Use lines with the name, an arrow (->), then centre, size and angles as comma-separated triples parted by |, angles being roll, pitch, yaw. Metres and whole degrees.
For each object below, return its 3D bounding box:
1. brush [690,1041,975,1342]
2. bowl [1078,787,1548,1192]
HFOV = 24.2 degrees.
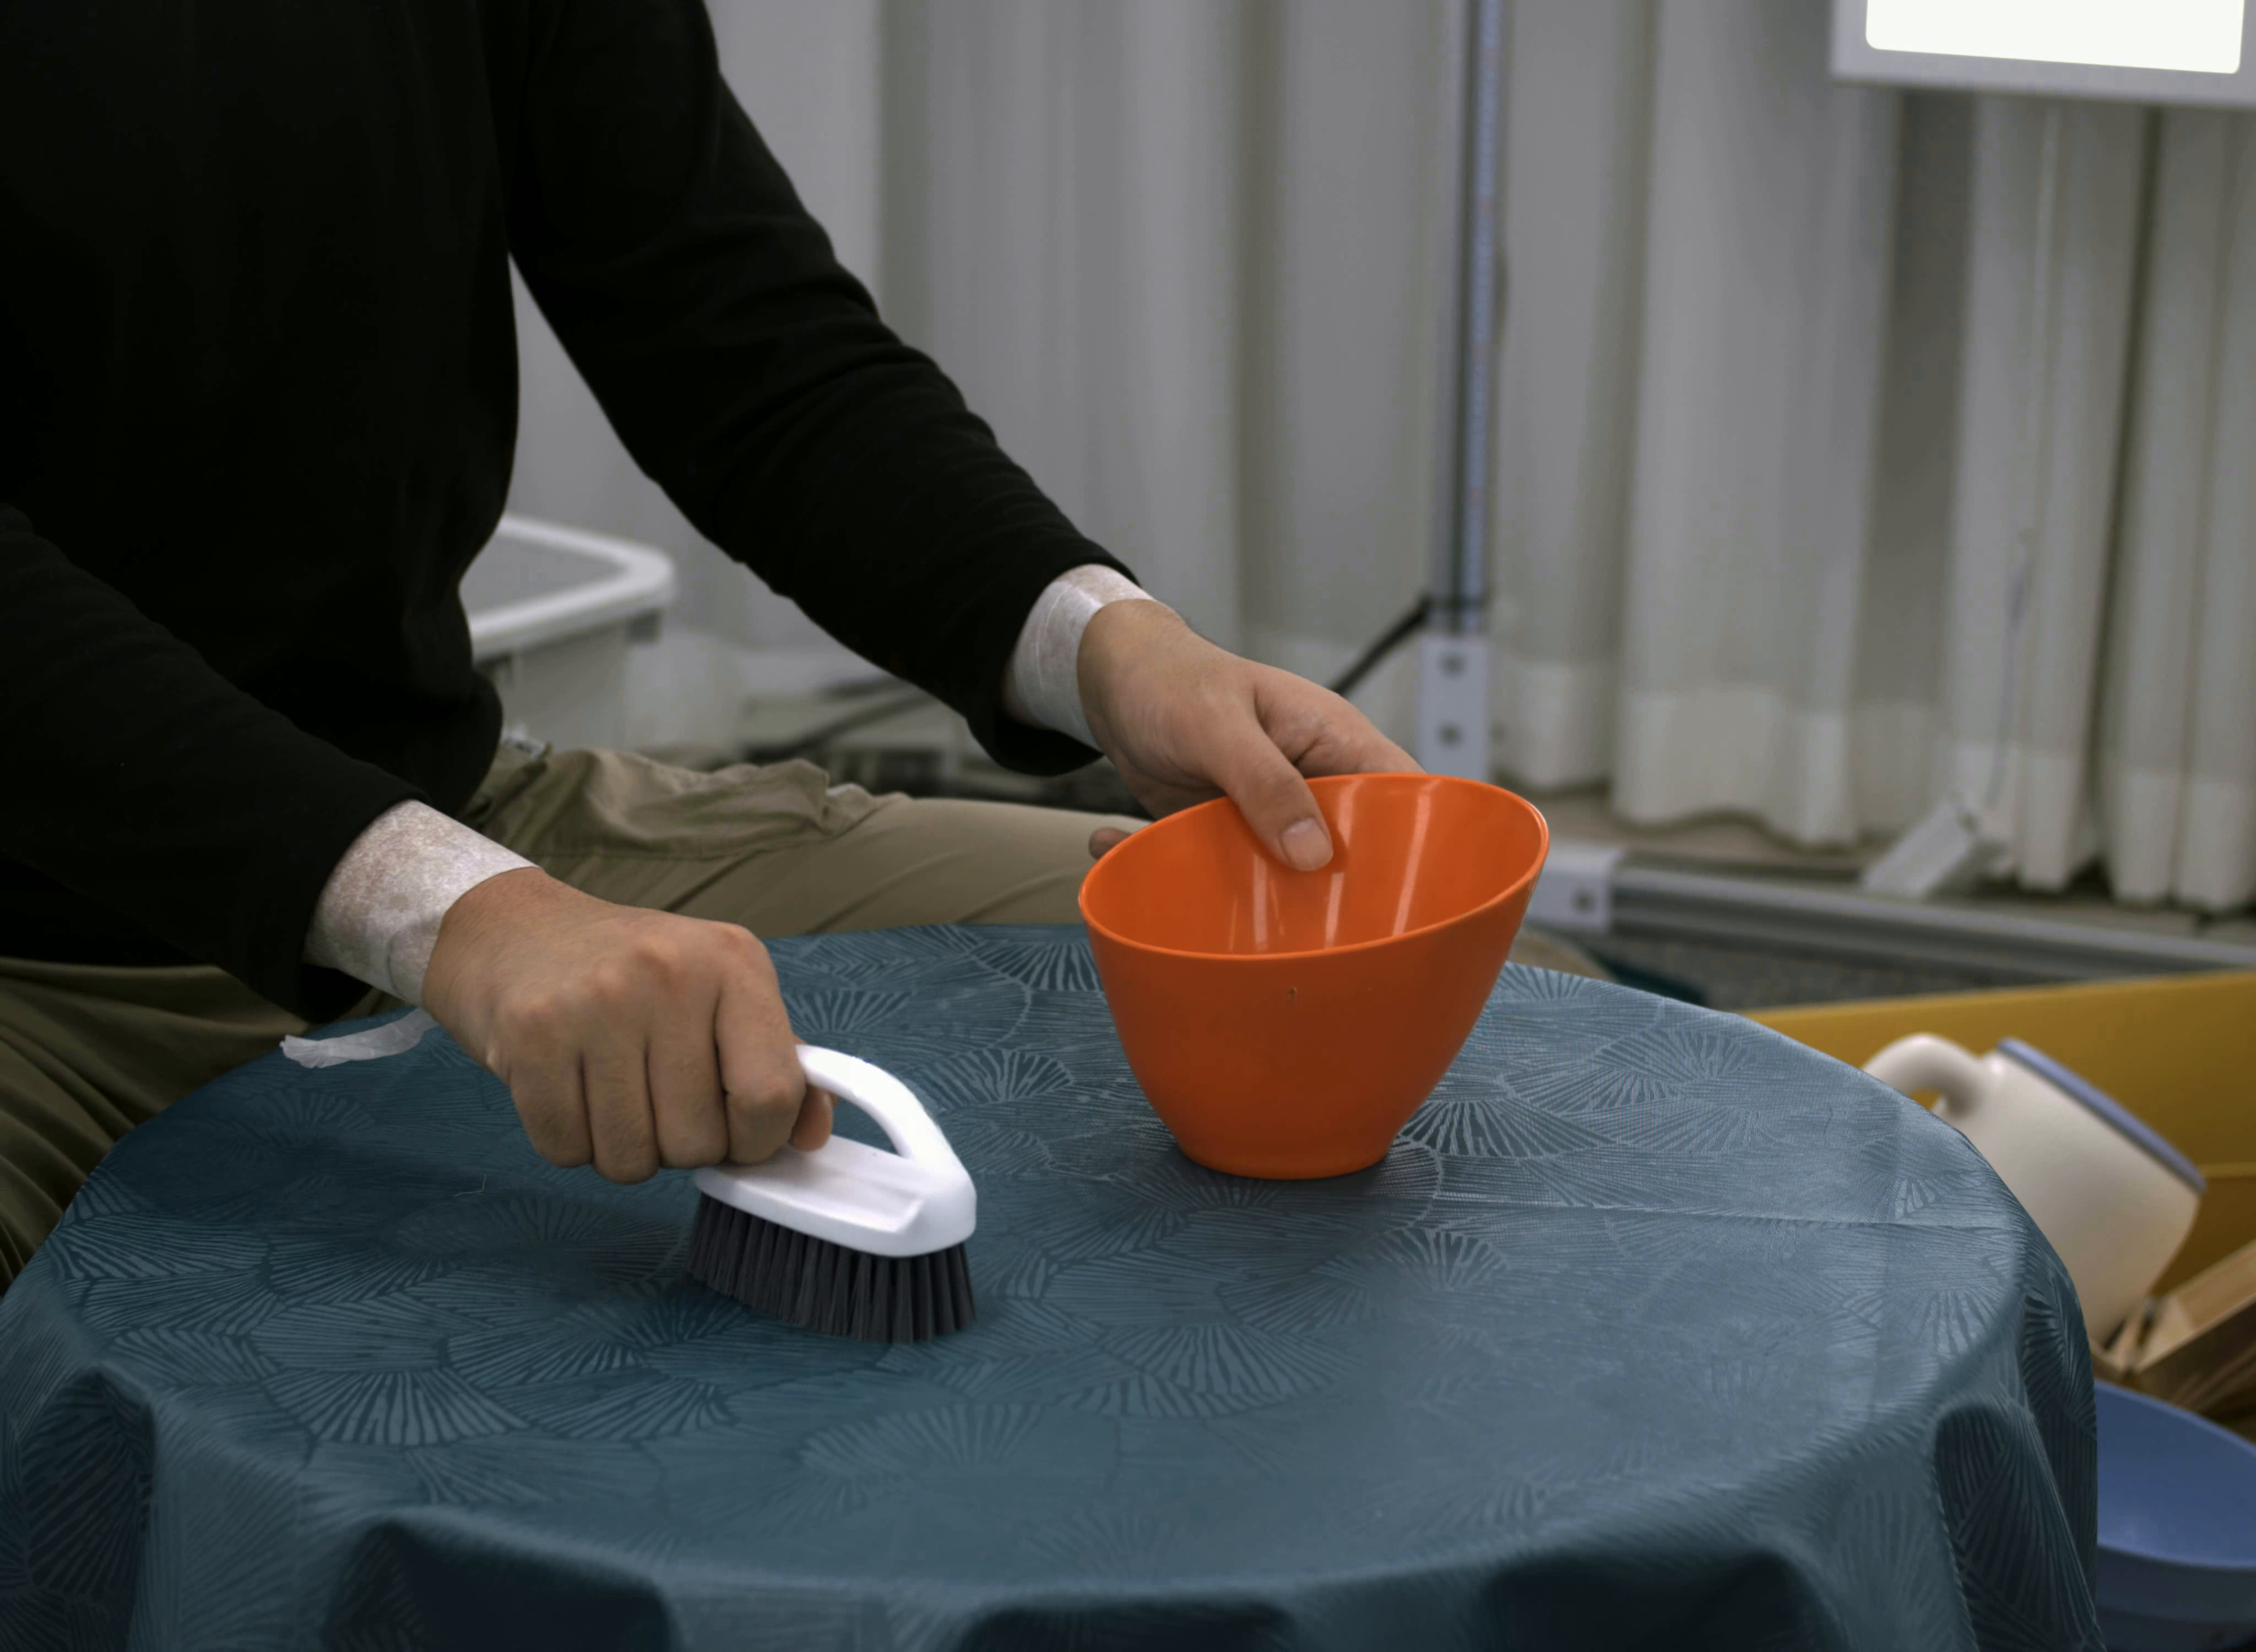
brush -> -0.087, 0.100, 1.520 | 0.098, 0.073, 0.050 | 17, 25, 42
bowl -> 0.059, 0.054, 1.653 | 0.147, 0.105, 0.147 | -1, 15, 1
